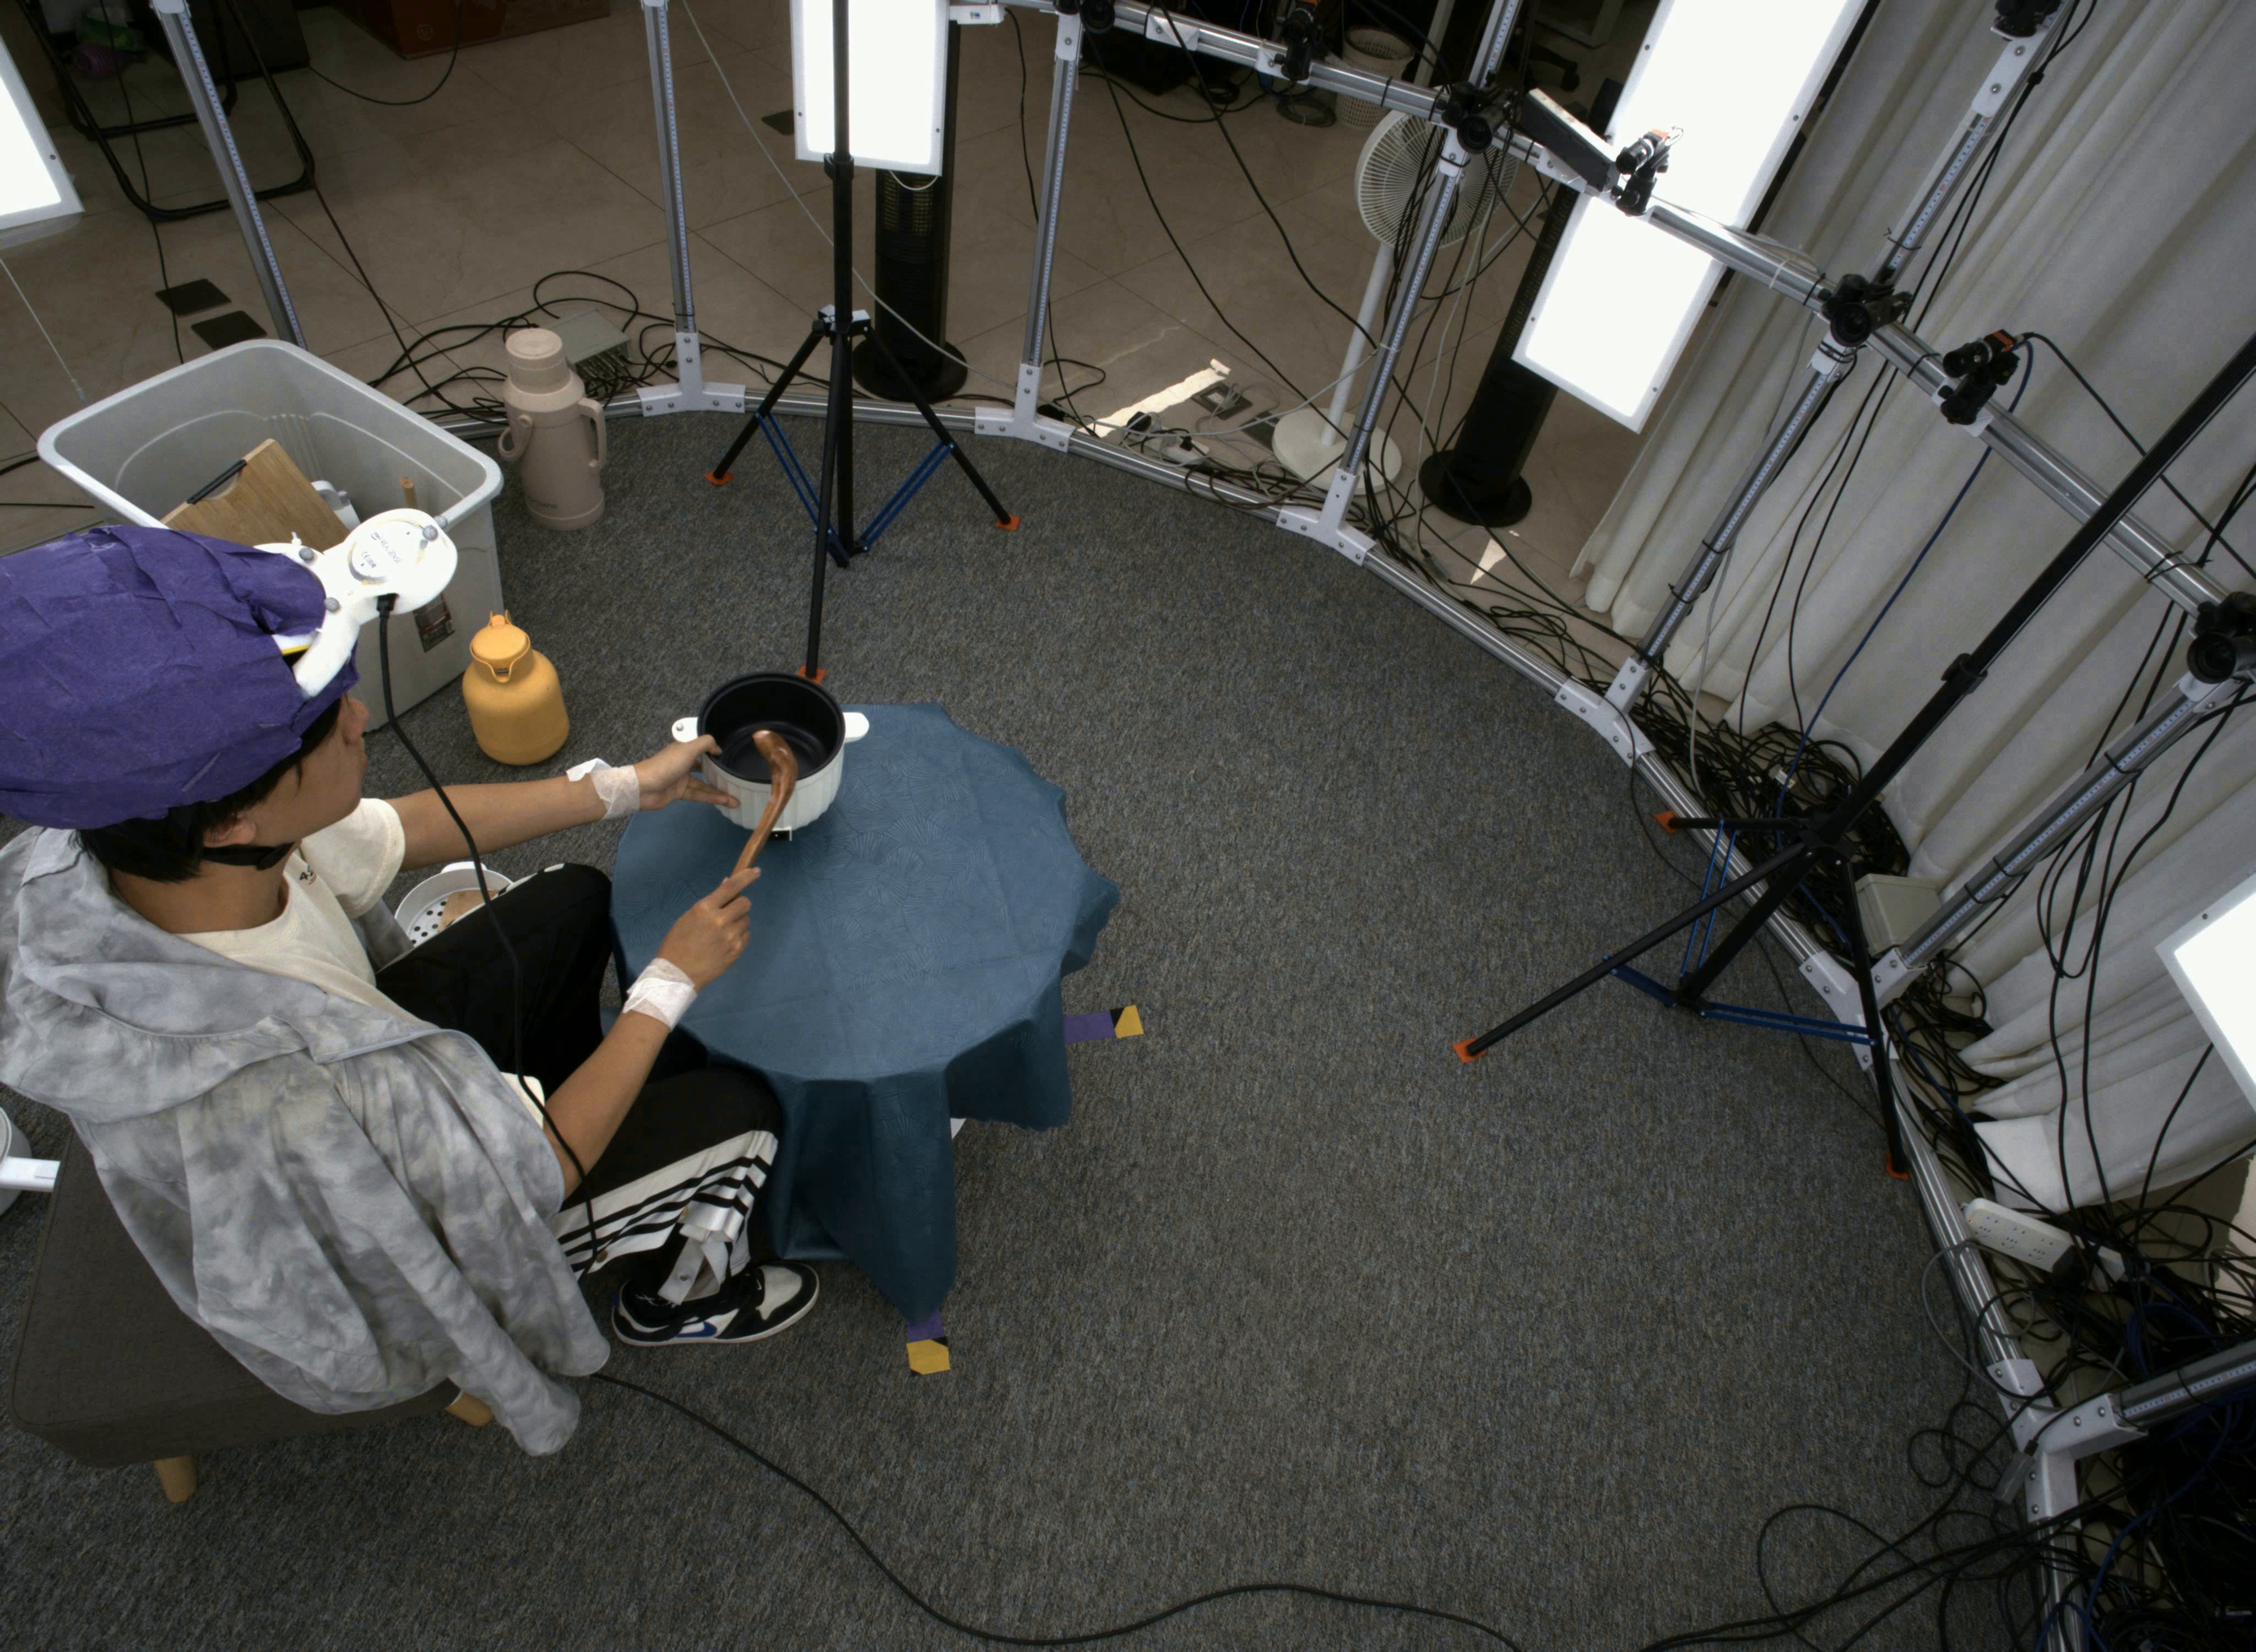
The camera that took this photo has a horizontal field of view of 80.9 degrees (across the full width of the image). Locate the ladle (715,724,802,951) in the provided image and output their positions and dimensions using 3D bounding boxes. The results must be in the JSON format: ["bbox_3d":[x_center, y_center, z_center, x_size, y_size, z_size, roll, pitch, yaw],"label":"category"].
[{"bbox_3d":[-0.443,0.007,1.486,0.074,0.084,0.272,9,65,17],"label":"ladle"}]

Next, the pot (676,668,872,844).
[{"bbox_3d":[-0.453,-0.093,1.659,0.241,0.144,0.187,-3,59,-19],"label":"pot"}]
